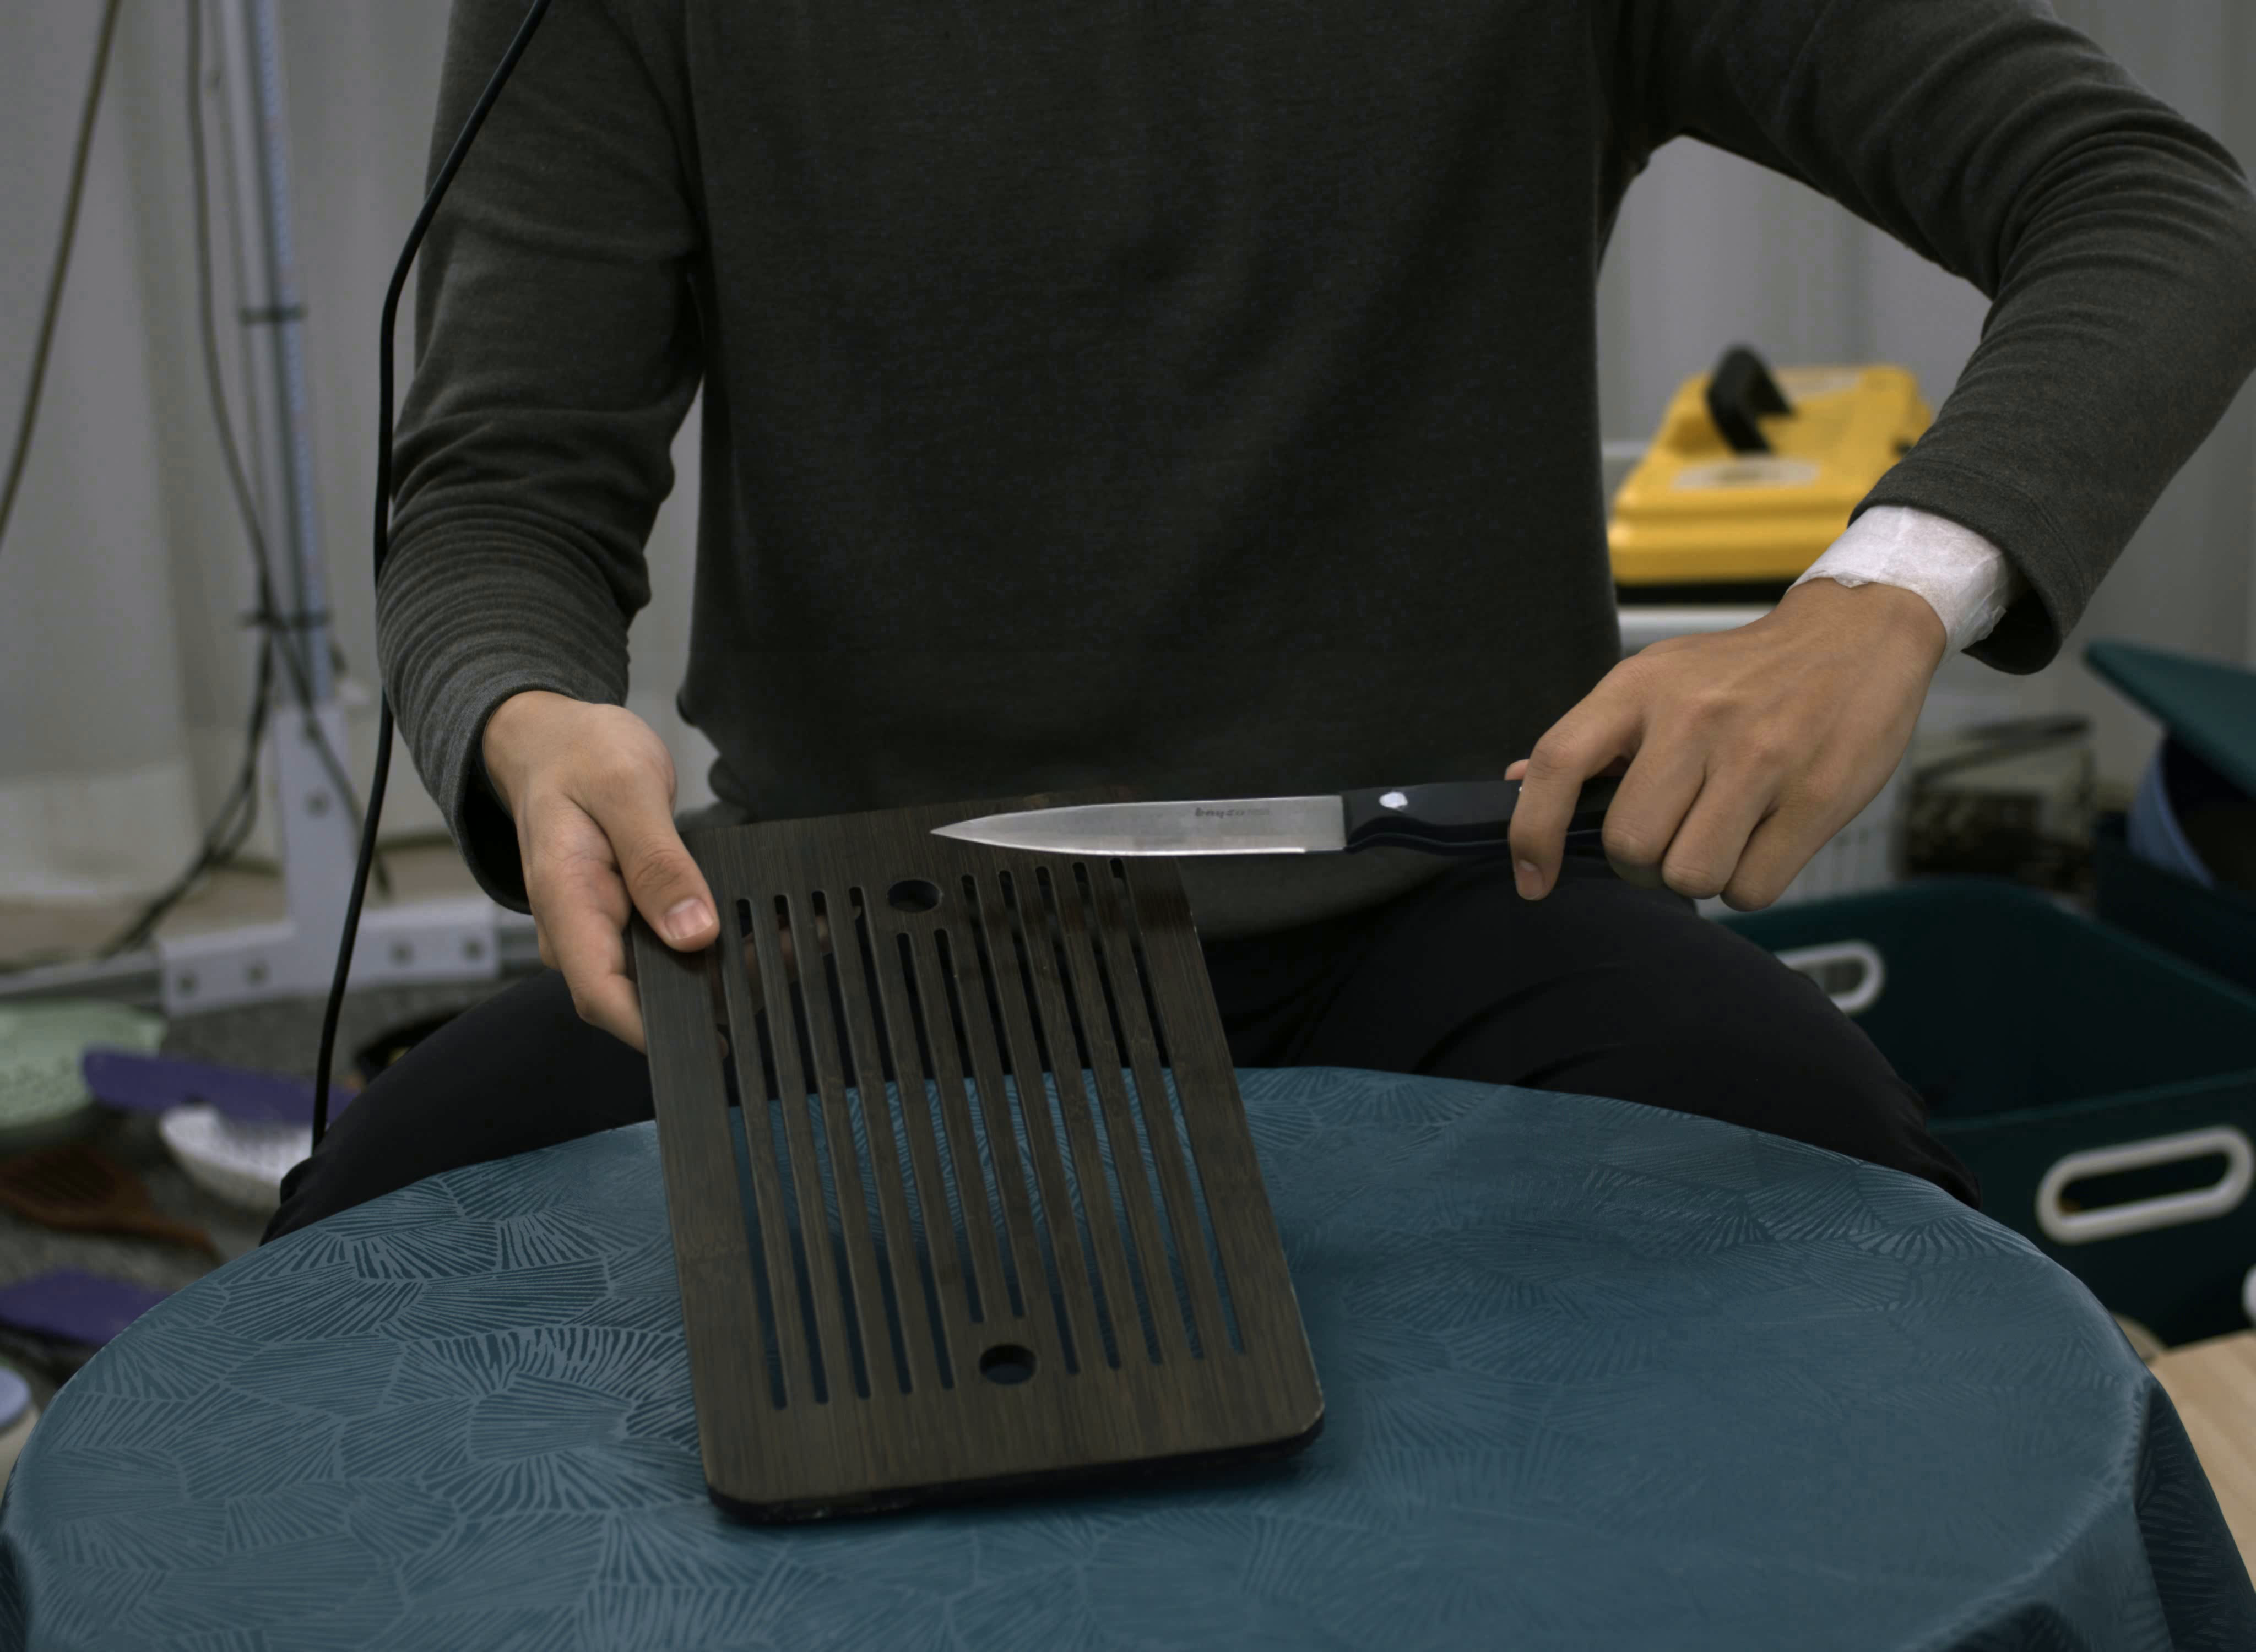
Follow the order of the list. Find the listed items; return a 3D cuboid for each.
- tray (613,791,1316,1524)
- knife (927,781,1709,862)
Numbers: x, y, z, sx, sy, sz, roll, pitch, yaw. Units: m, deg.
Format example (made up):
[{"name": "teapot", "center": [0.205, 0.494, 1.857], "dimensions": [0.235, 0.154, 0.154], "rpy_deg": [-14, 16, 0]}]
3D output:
[{"name": "tray", "center": [-0.054, 0.091, 1.585], "dimensions": [0.169, 0.018, 0.310], "rpy_deg": [-6, 36, -6]}, {"name": "knife", "center": [0.057, -0.001, 1.662], "dimensions": [0.237, 0.016, 0.025], "rpy_deg": [-2, 46, 0]}]
